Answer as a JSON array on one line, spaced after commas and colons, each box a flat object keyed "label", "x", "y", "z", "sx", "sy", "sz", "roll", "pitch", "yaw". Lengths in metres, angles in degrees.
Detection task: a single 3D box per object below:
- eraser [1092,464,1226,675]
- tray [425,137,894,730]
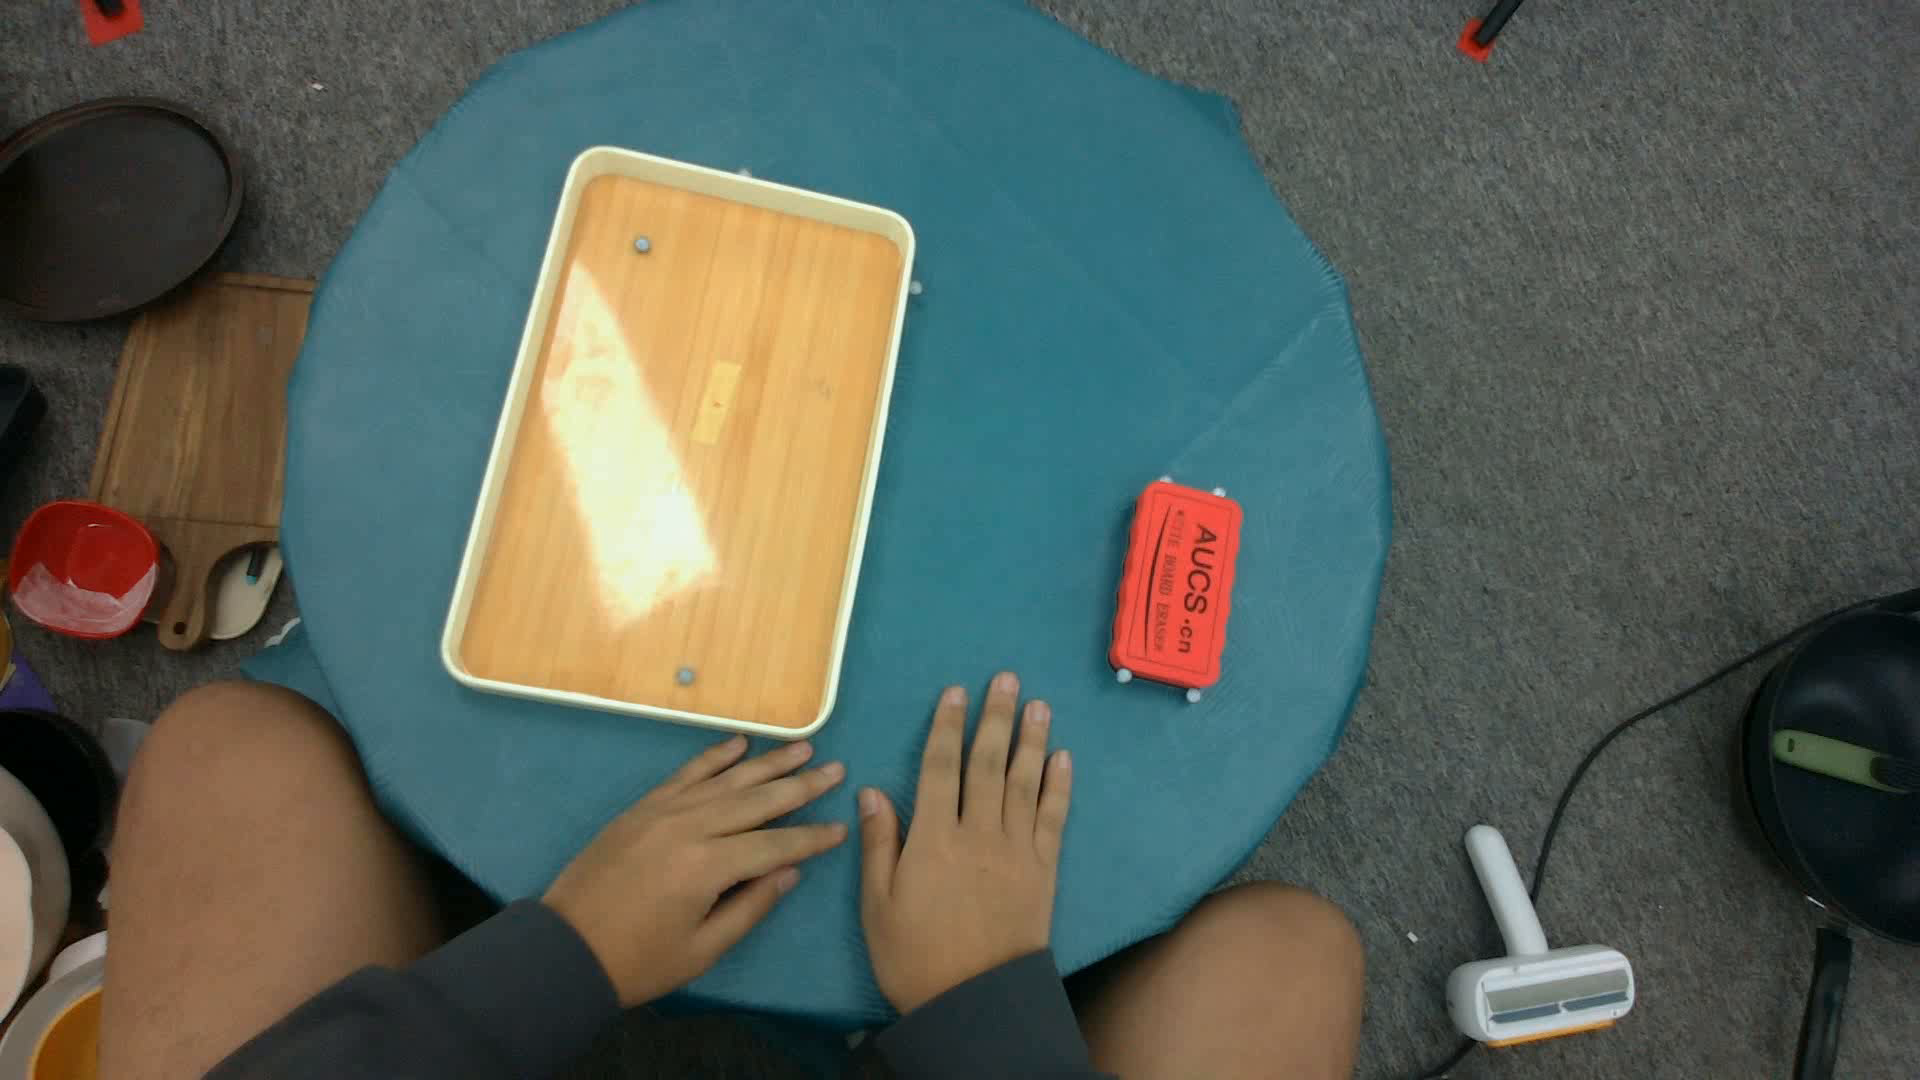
[{"label": "eraser", "x": 0.109, "y": 0.016, "z": 0.748, "sx": 0.059, "sy": 0.023, "sz": 0.108, "roll": 14, "pitch": 71, "yaw": -6}, {"label": "tray", "x": -0.148, "y": -0.061, "z": 0.722, "sx": 0.191, "sy": 0.027, "sz": 0.301, "roll": 10, "pitch": 72, "yaw": -7}]
